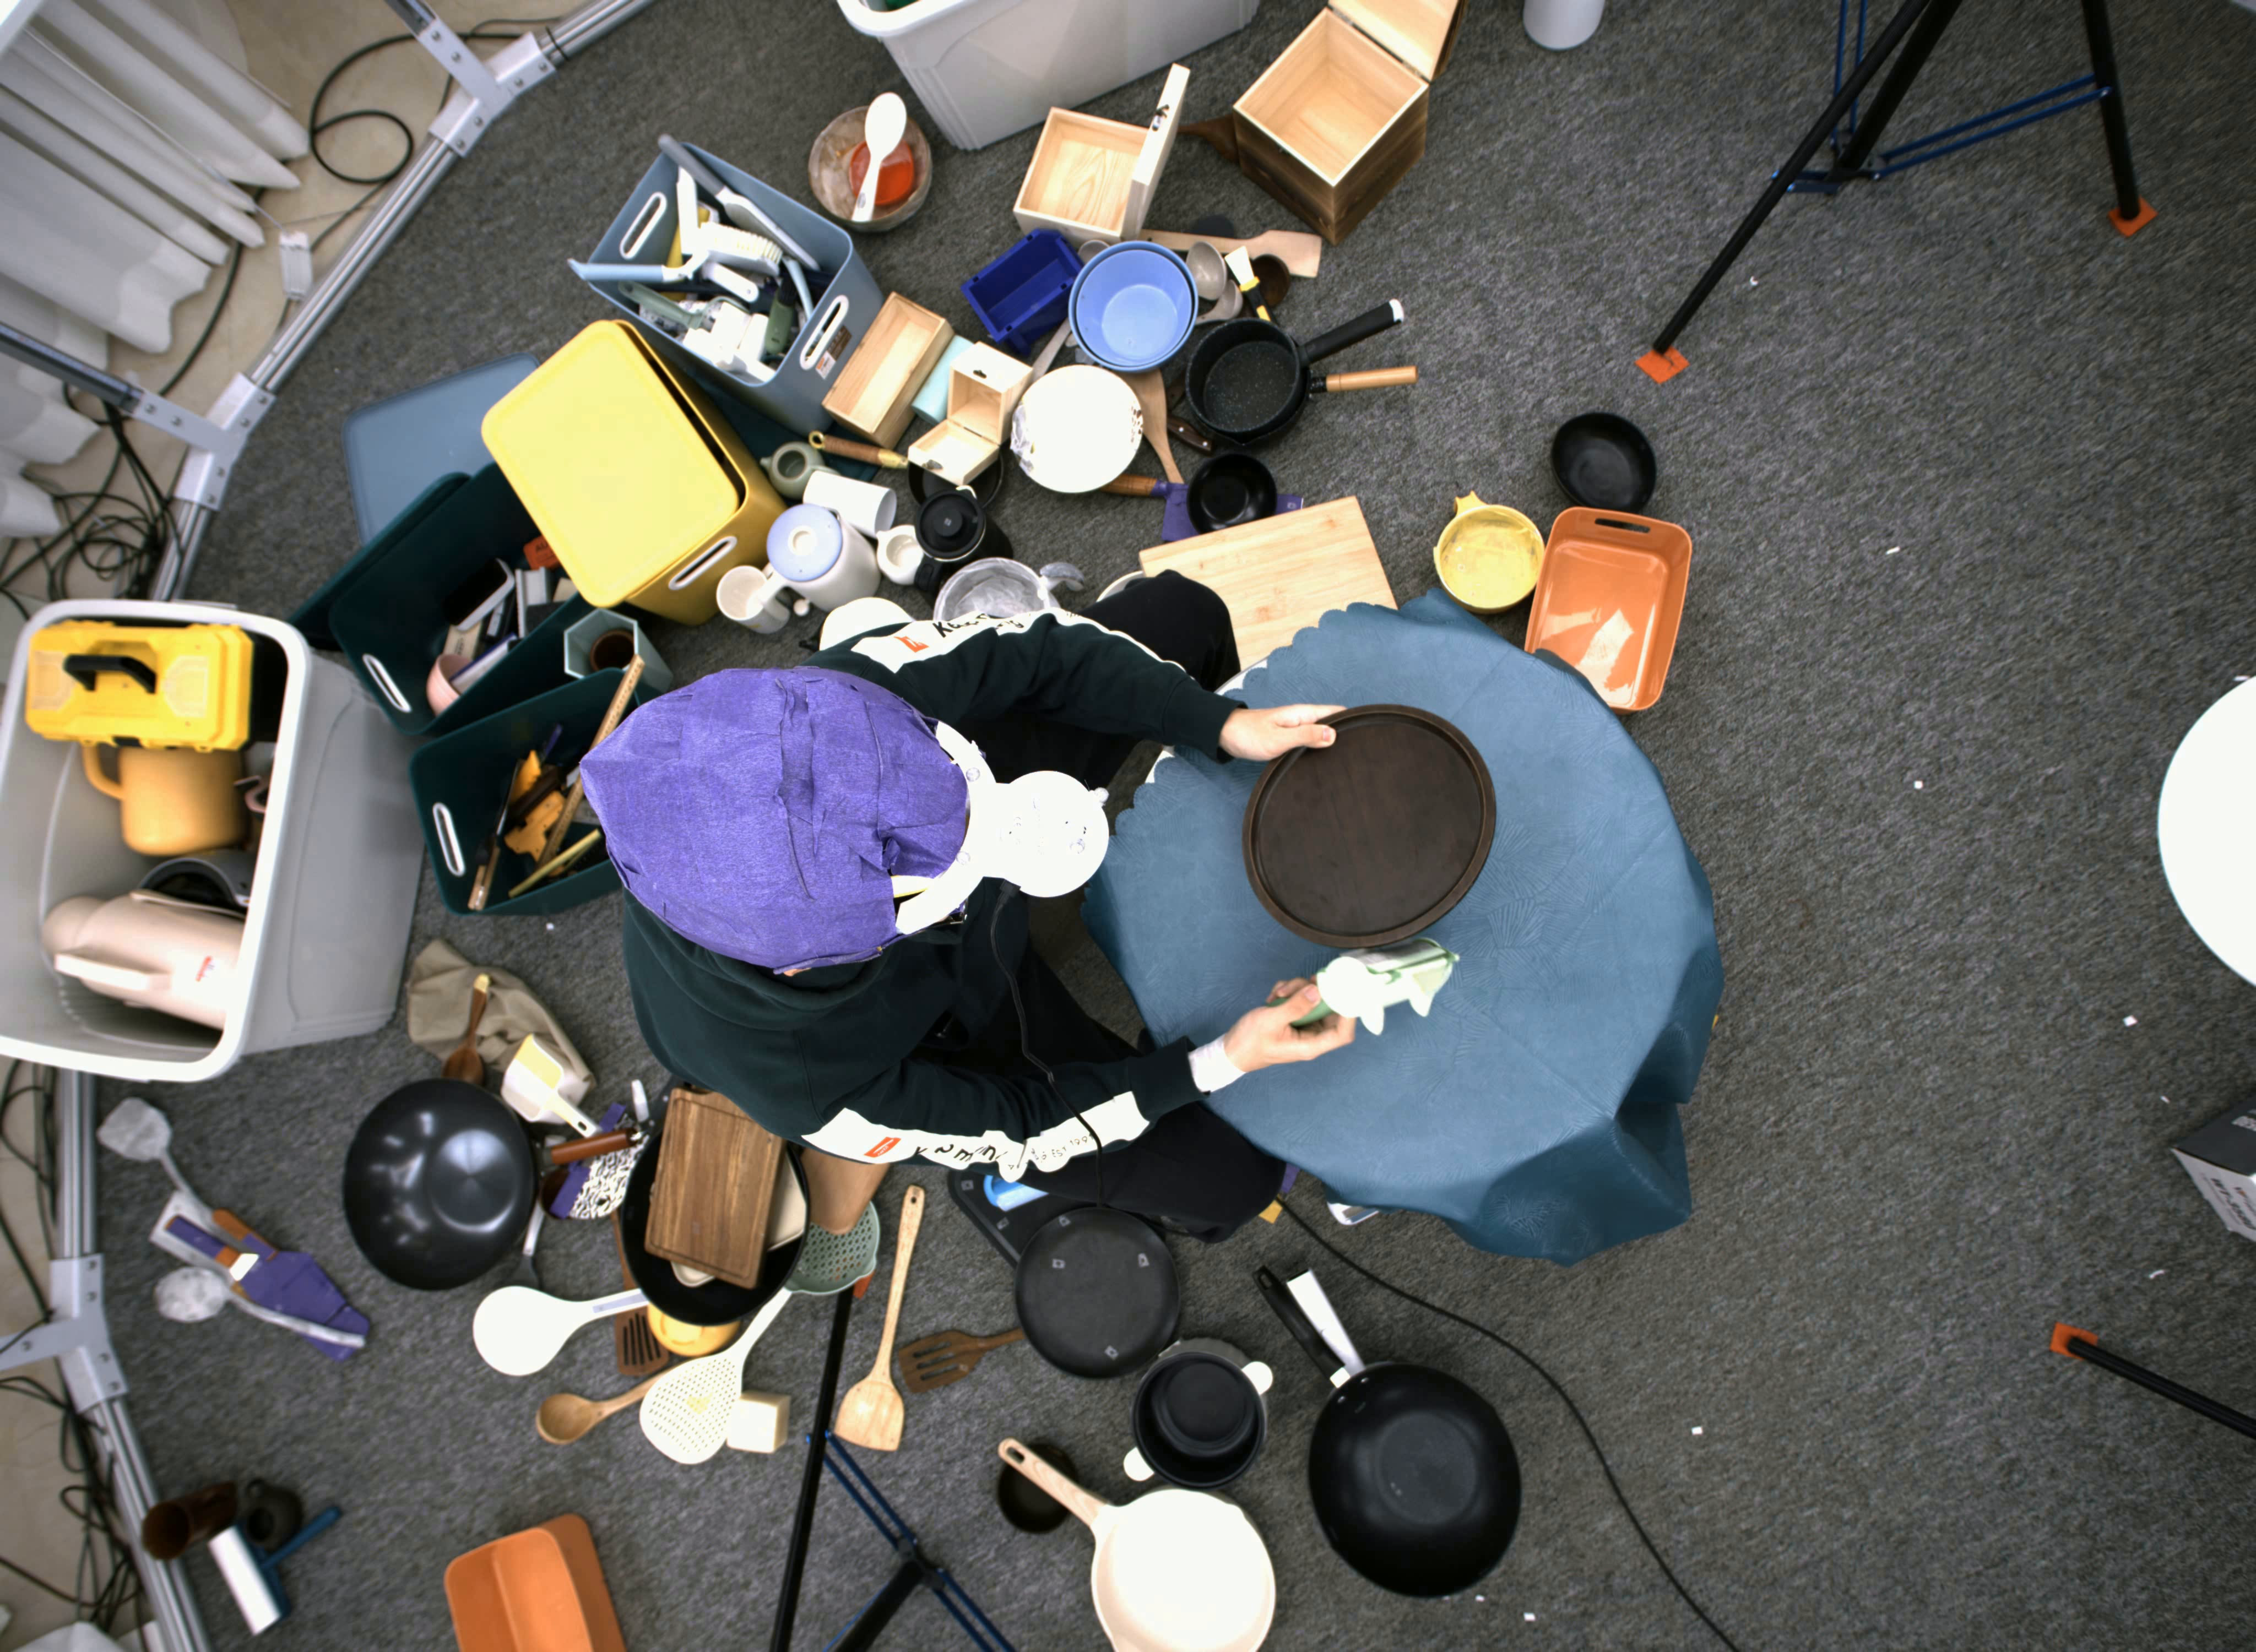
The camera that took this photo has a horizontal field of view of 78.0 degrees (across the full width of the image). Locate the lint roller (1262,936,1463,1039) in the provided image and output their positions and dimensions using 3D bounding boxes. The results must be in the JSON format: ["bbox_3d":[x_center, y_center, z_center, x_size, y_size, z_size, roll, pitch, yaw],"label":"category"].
[{"bbox_3d":[0.212,0.174,1.324,0.187,0.197,0.081,-36,73,31],"label":"lint roller"}]

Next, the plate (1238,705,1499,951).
[{"bbox_3d":[0.228,0.000,1.318,0.257,0.029,0.250,-11,67,25],"label":"plate"}]
